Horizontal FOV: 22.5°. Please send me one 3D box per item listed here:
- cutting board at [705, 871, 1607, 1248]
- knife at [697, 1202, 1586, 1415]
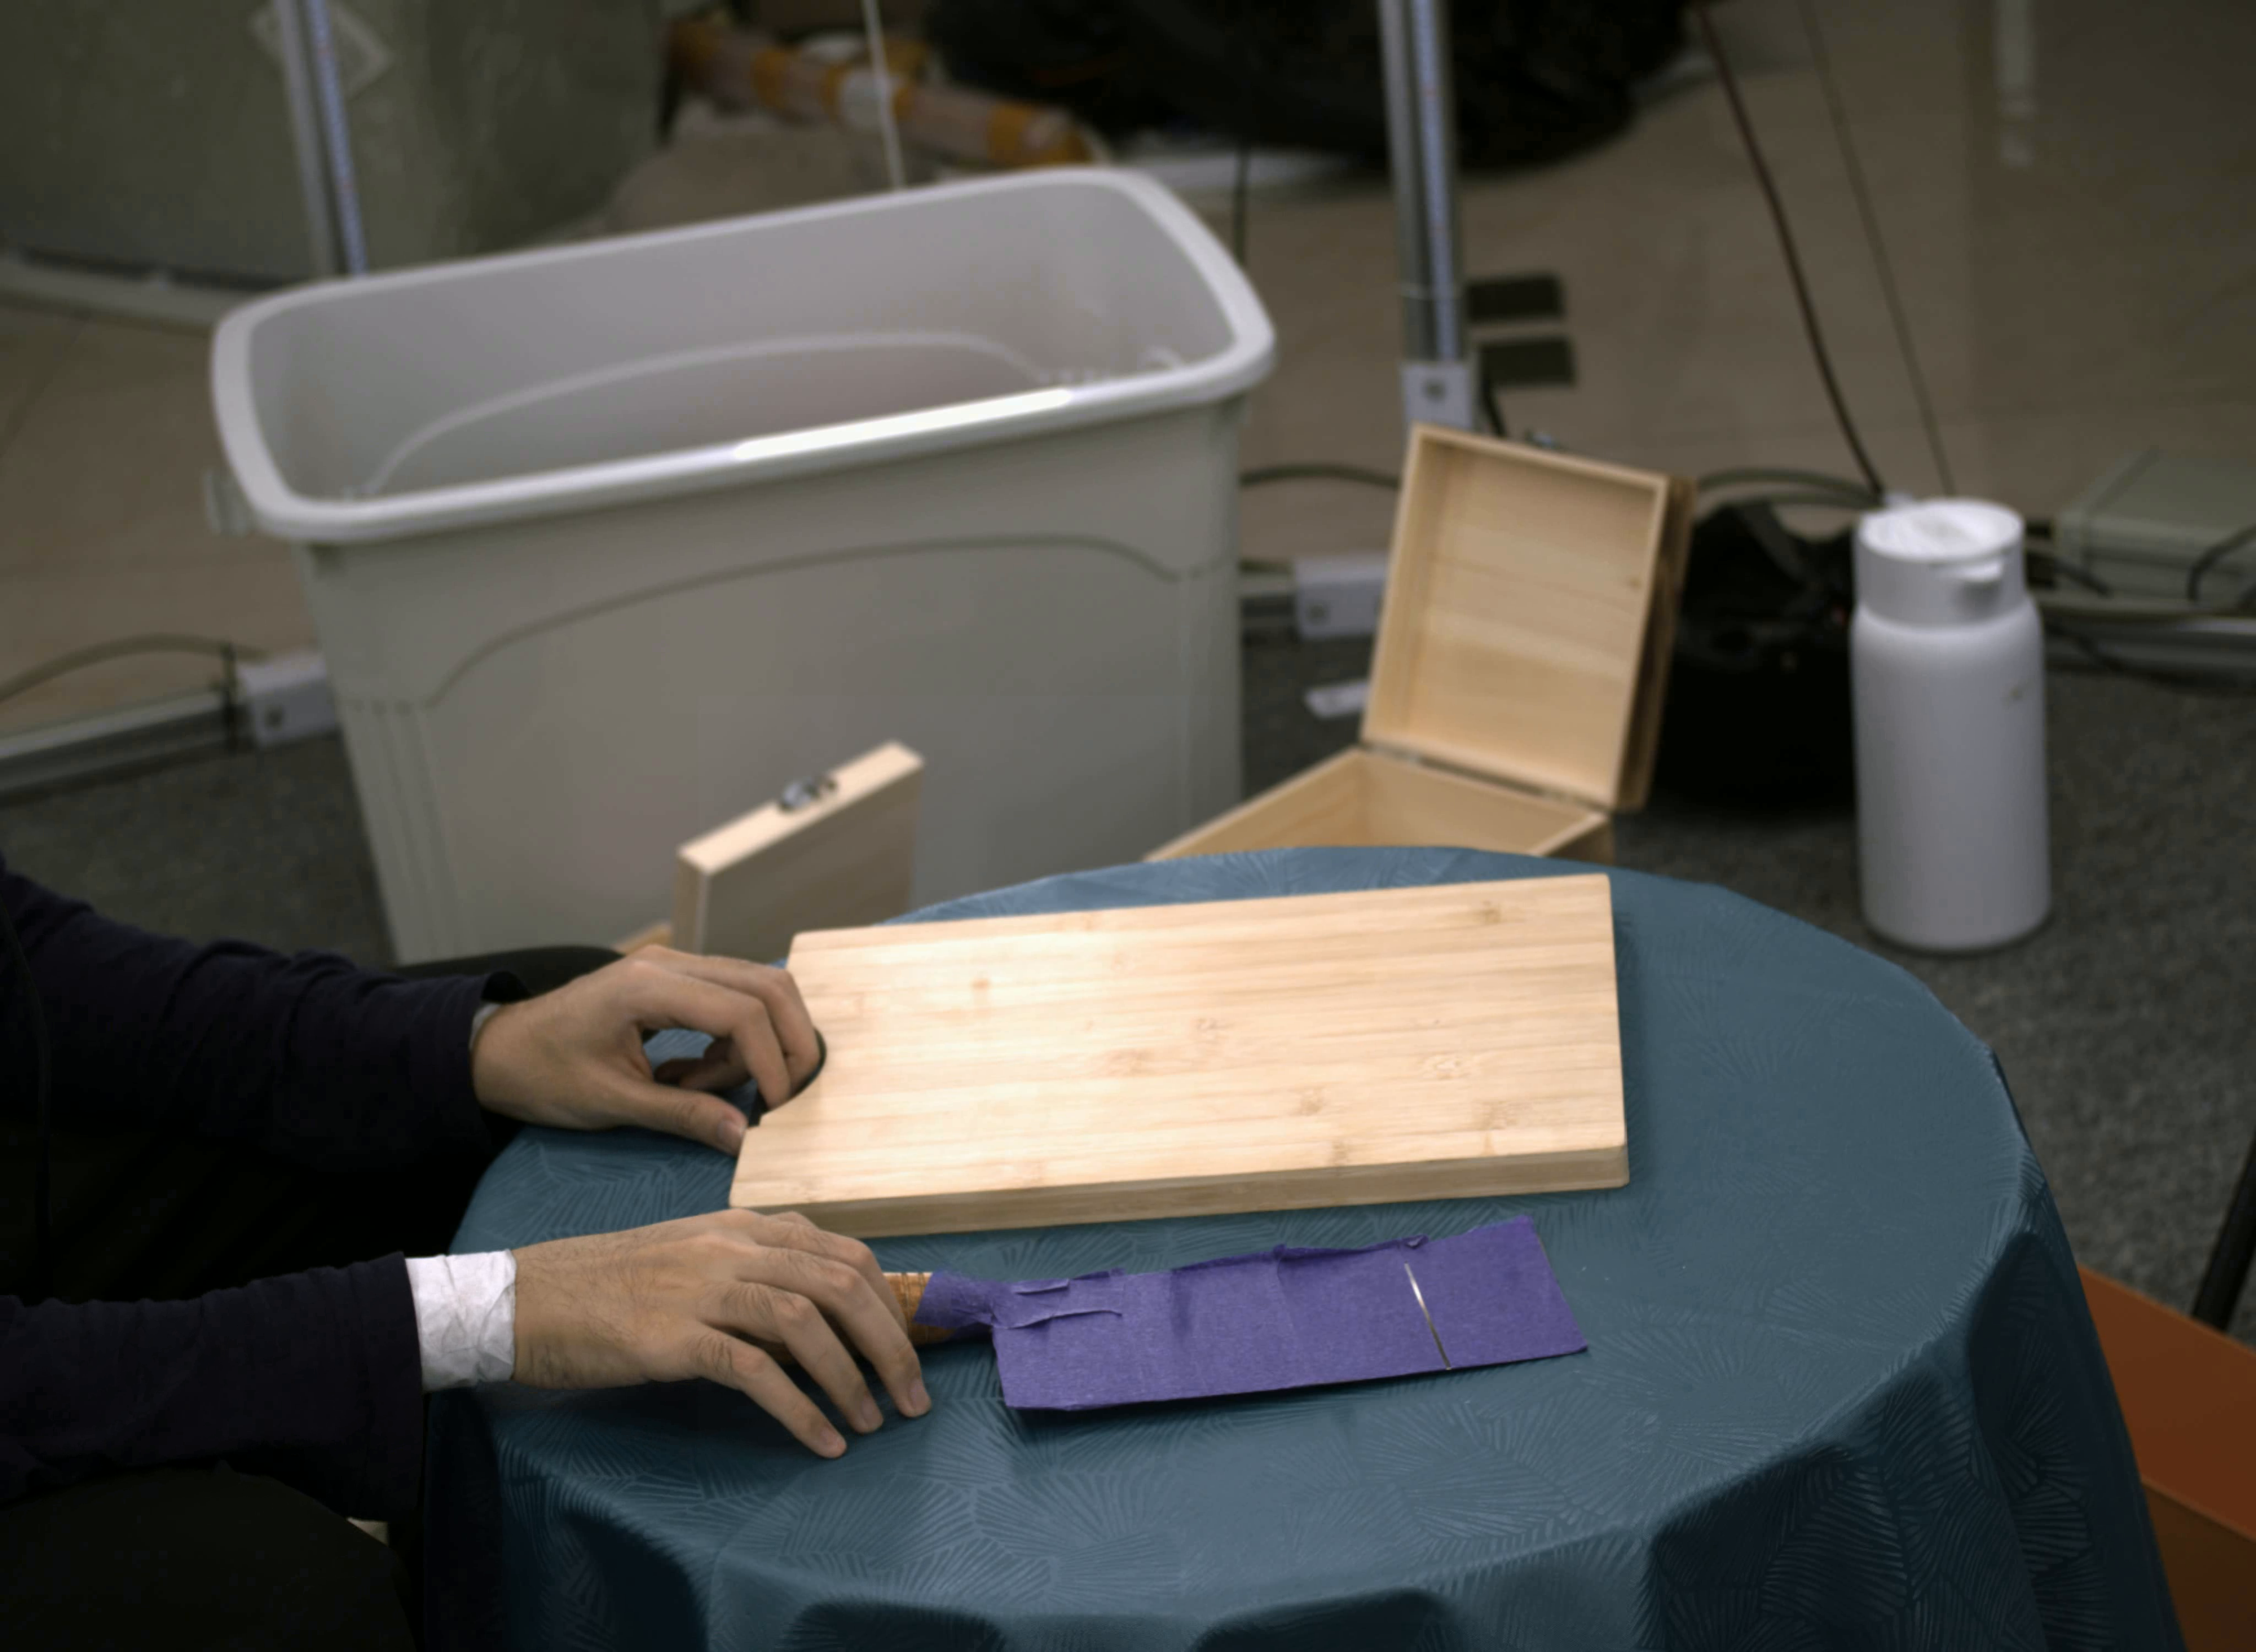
[{"bbox_3d":[0.019,0.090,2.233,0.348,0.024,0.247,-5,25,5],"label":"cutting board"},{"bbox_3d":[0.004,0.178,2.035,0.314,0.033,0.102,-8,24,-4],"label":"knife"}]
